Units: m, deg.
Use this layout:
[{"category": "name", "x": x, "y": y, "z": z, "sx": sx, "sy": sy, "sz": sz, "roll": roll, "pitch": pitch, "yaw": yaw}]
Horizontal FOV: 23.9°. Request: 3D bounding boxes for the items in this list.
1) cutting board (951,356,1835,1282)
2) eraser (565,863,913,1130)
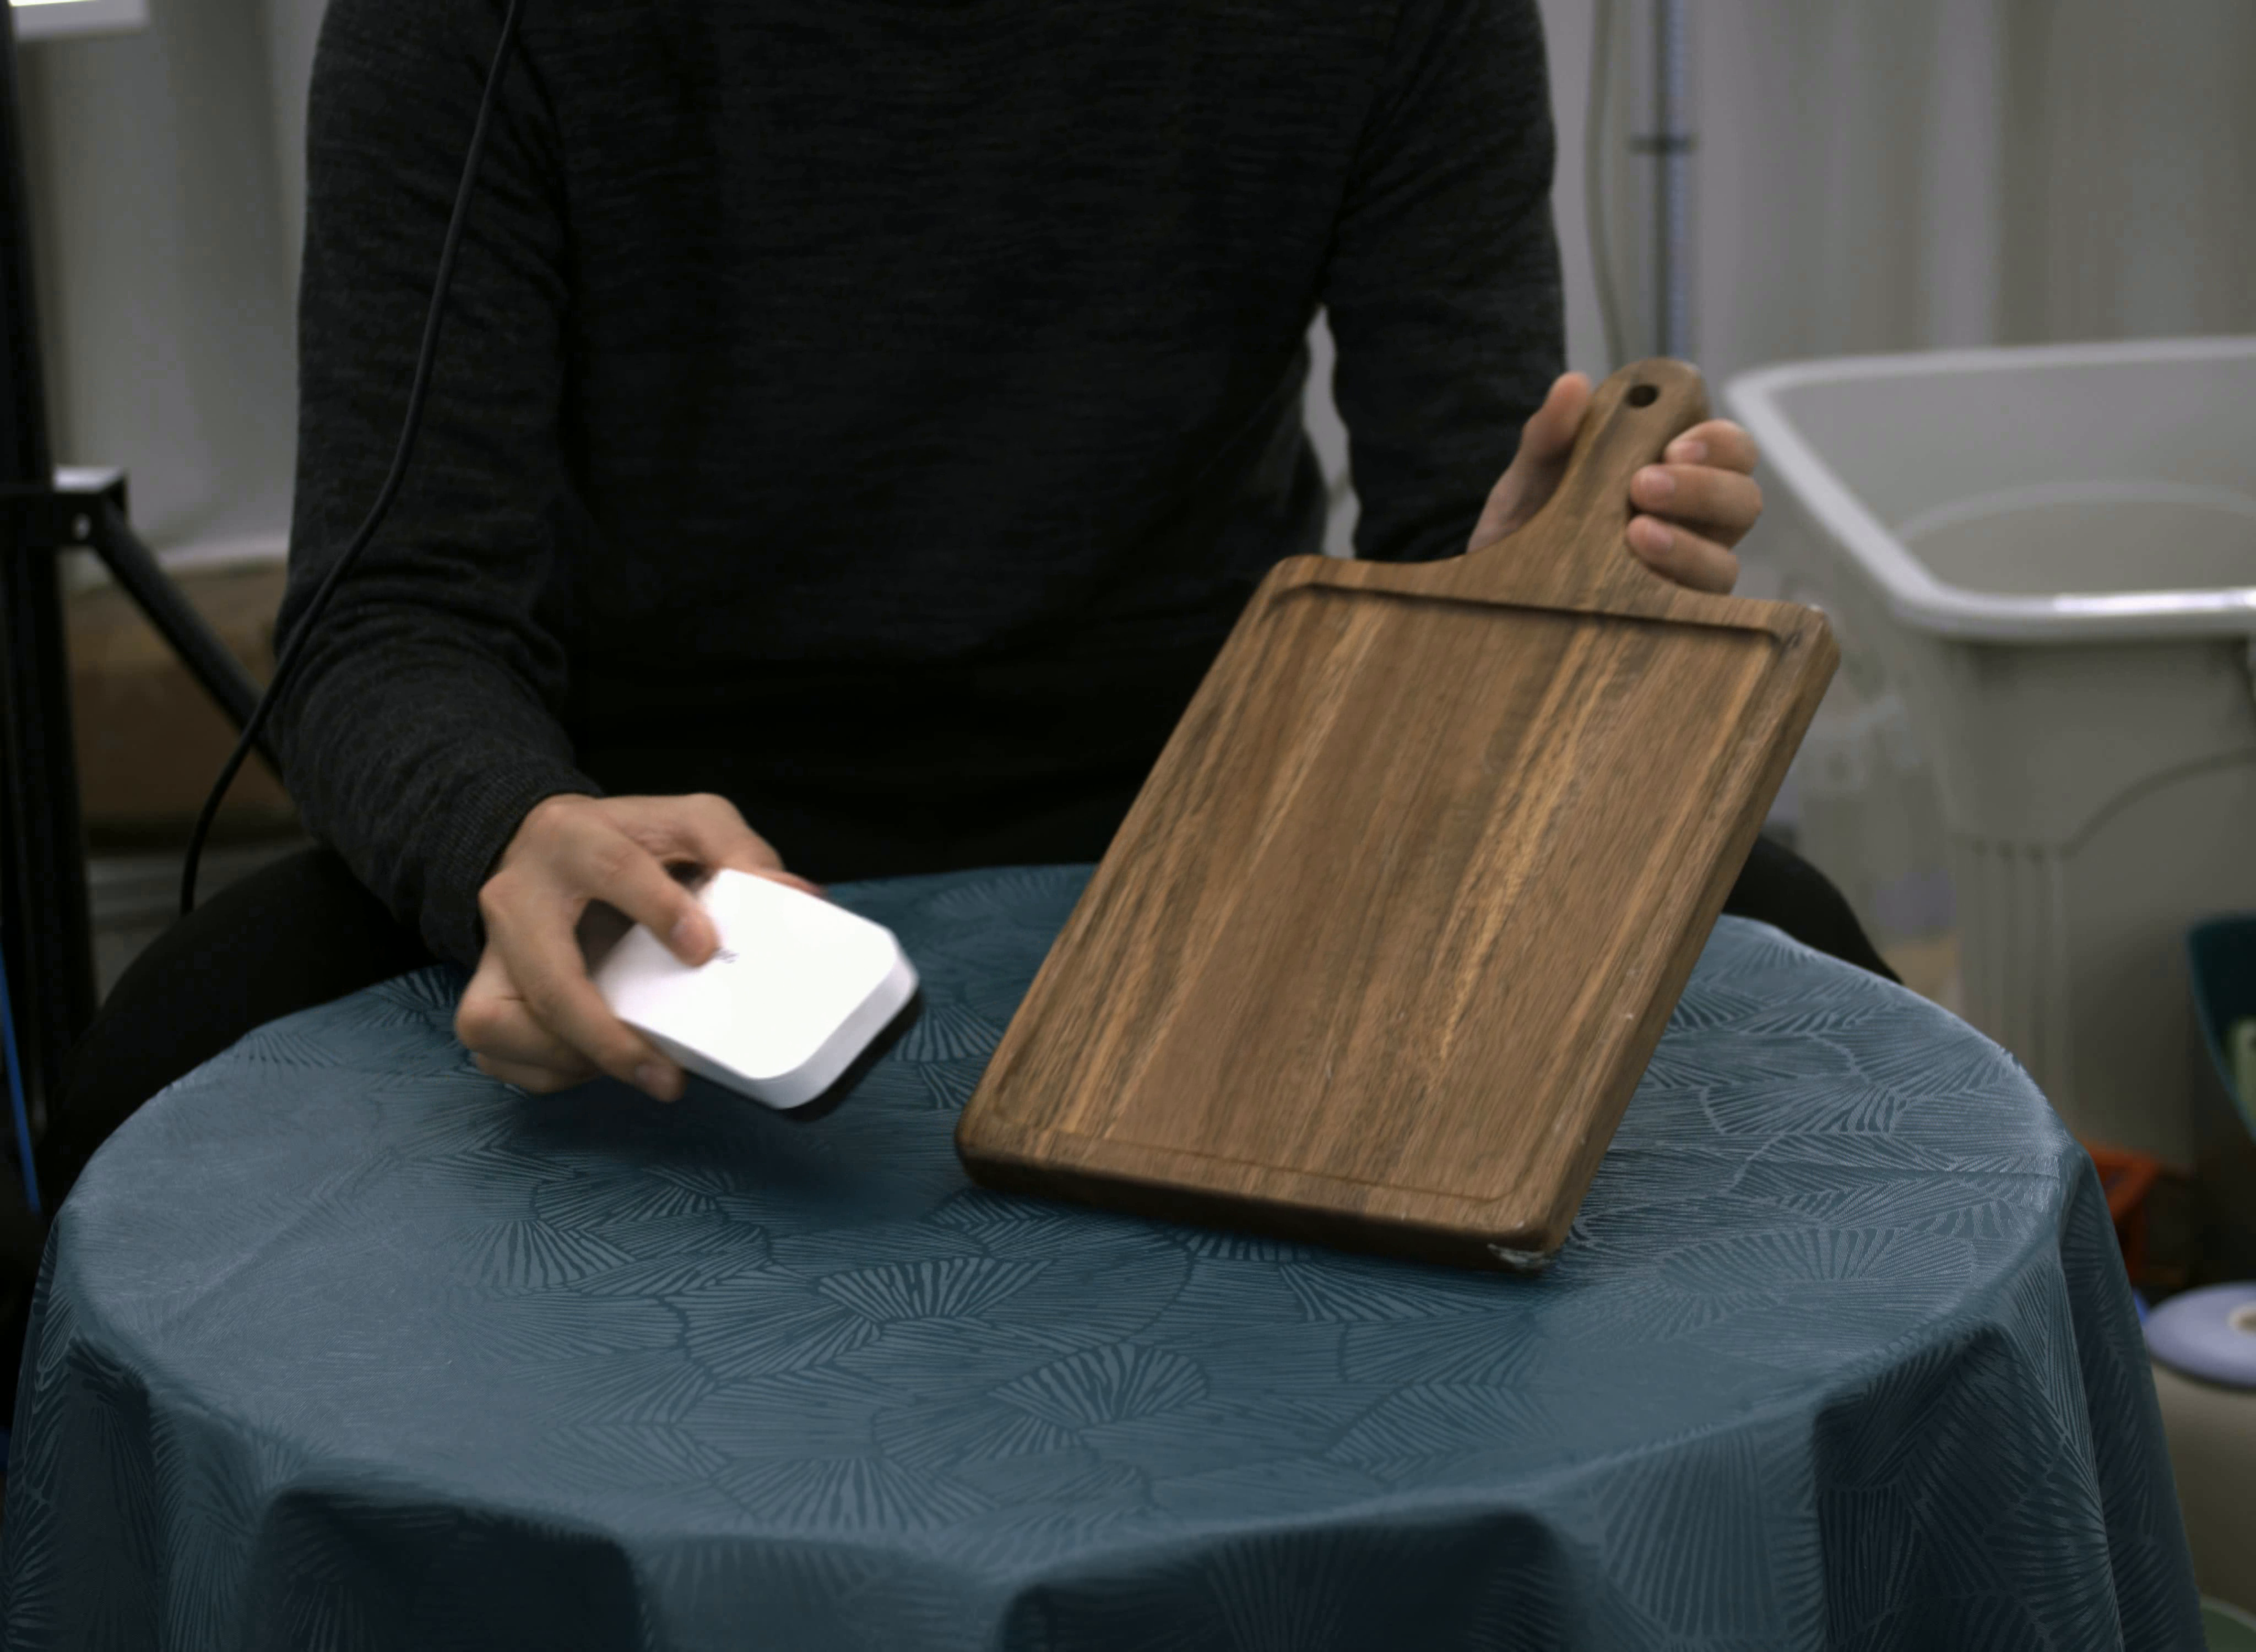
[{"category": "cutting board", "x": 0.100, "y": -0.014, "z": 1.604, "sx": 0.205, "sy": 0.023, "sz": 0.351, "roll": 6, "pitch": 50, "yaw": 31}, {"category": "eraser", "x": -0.117, "y": 0.048, "z": 1.593, "sx": 0.063, "sy": 0.034, "sz": 0.134, "roll": -46, "pitch": 31, "yaw": -15}]
